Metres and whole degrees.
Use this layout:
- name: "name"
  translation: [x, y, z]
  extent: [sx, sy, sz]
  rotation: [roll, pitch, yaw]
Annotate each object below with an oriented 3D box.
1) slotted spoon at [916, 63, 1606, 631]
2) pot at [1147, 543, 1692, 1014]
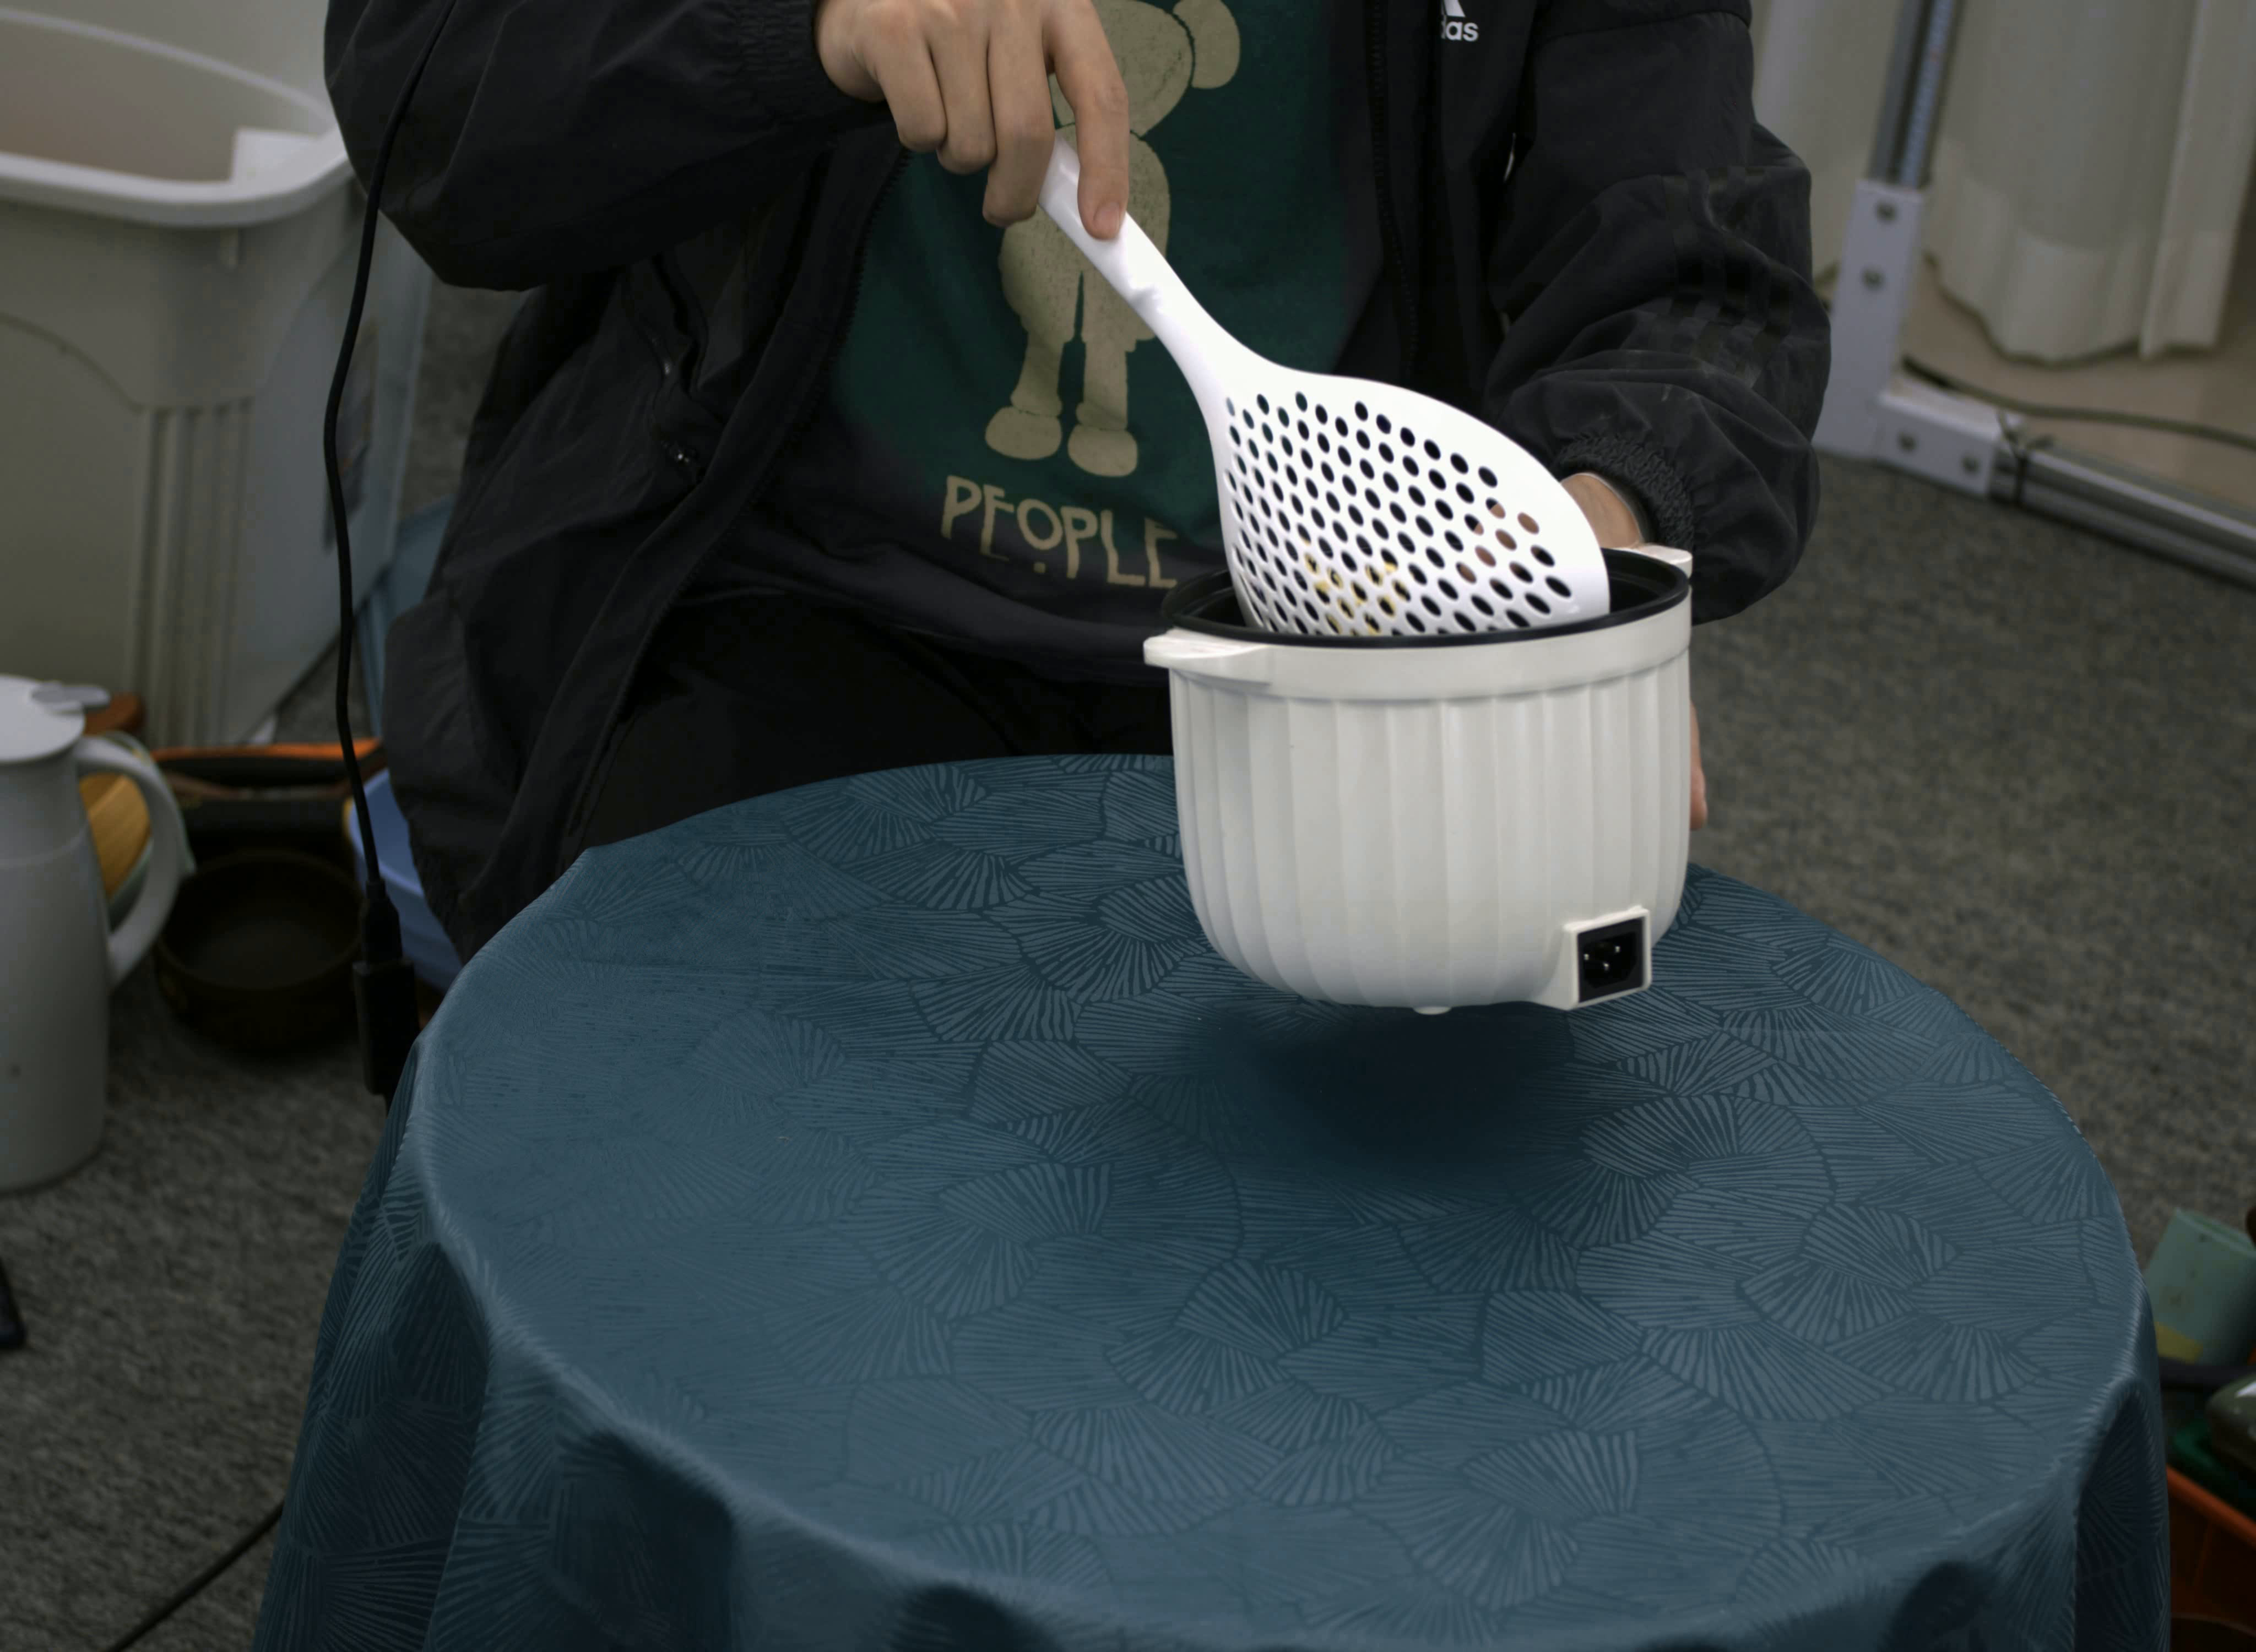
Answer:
- name: "slotted spoon"
  translation: [0.032, -0.152, 1.877]
  extent: [0.050, 0.136, 0.351]
  rotation: [2, 40, -49]
- name: "pot"
  translation: [0.100, -0.019, 1.846]
  extent: [0.239, 0.142, 0.192]
  rotation: [-11, 18, -38]
